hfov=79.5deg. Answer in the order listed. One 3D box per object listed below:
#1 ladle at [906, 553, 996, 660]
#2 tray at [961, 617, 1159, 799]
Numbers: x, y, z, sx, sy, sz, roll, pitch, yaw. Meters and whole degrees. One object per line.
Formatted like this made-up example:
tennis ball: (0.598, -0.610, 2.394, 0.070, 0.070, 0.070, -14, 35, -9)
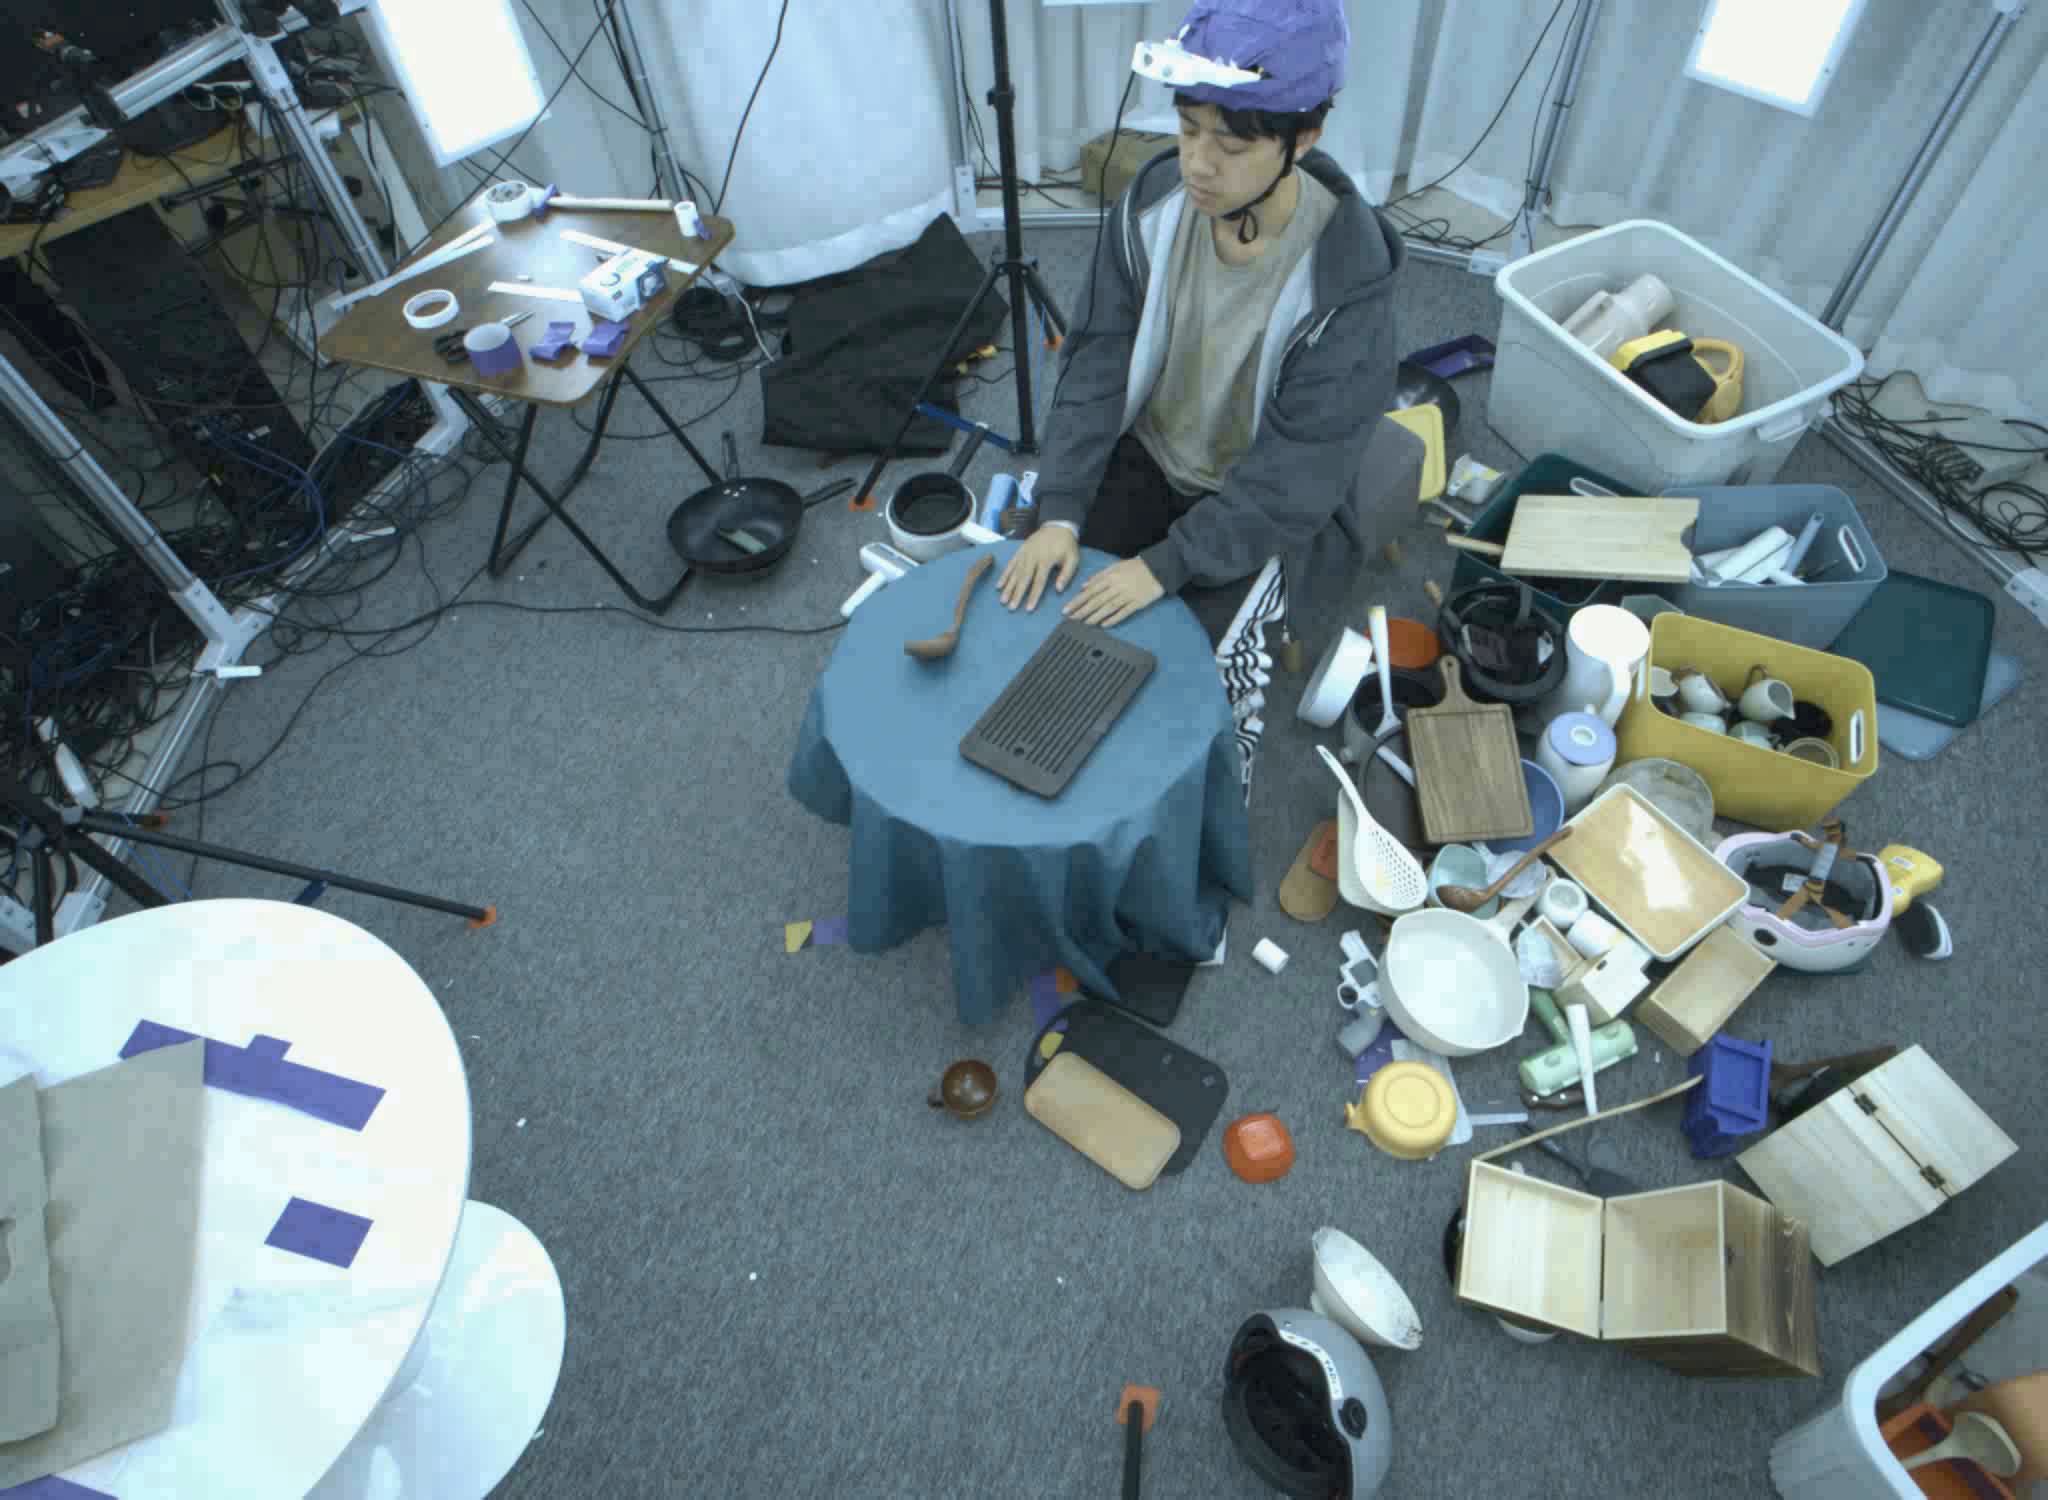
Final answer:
ladle: (-0.109, -0.236, 1.924, 0.075, 0.066, 0.260, -3, 50, 35)
tray: (0.056, -0.067, 1.824, 0.167, 0.019, 0.307, 27, 60, 20)
